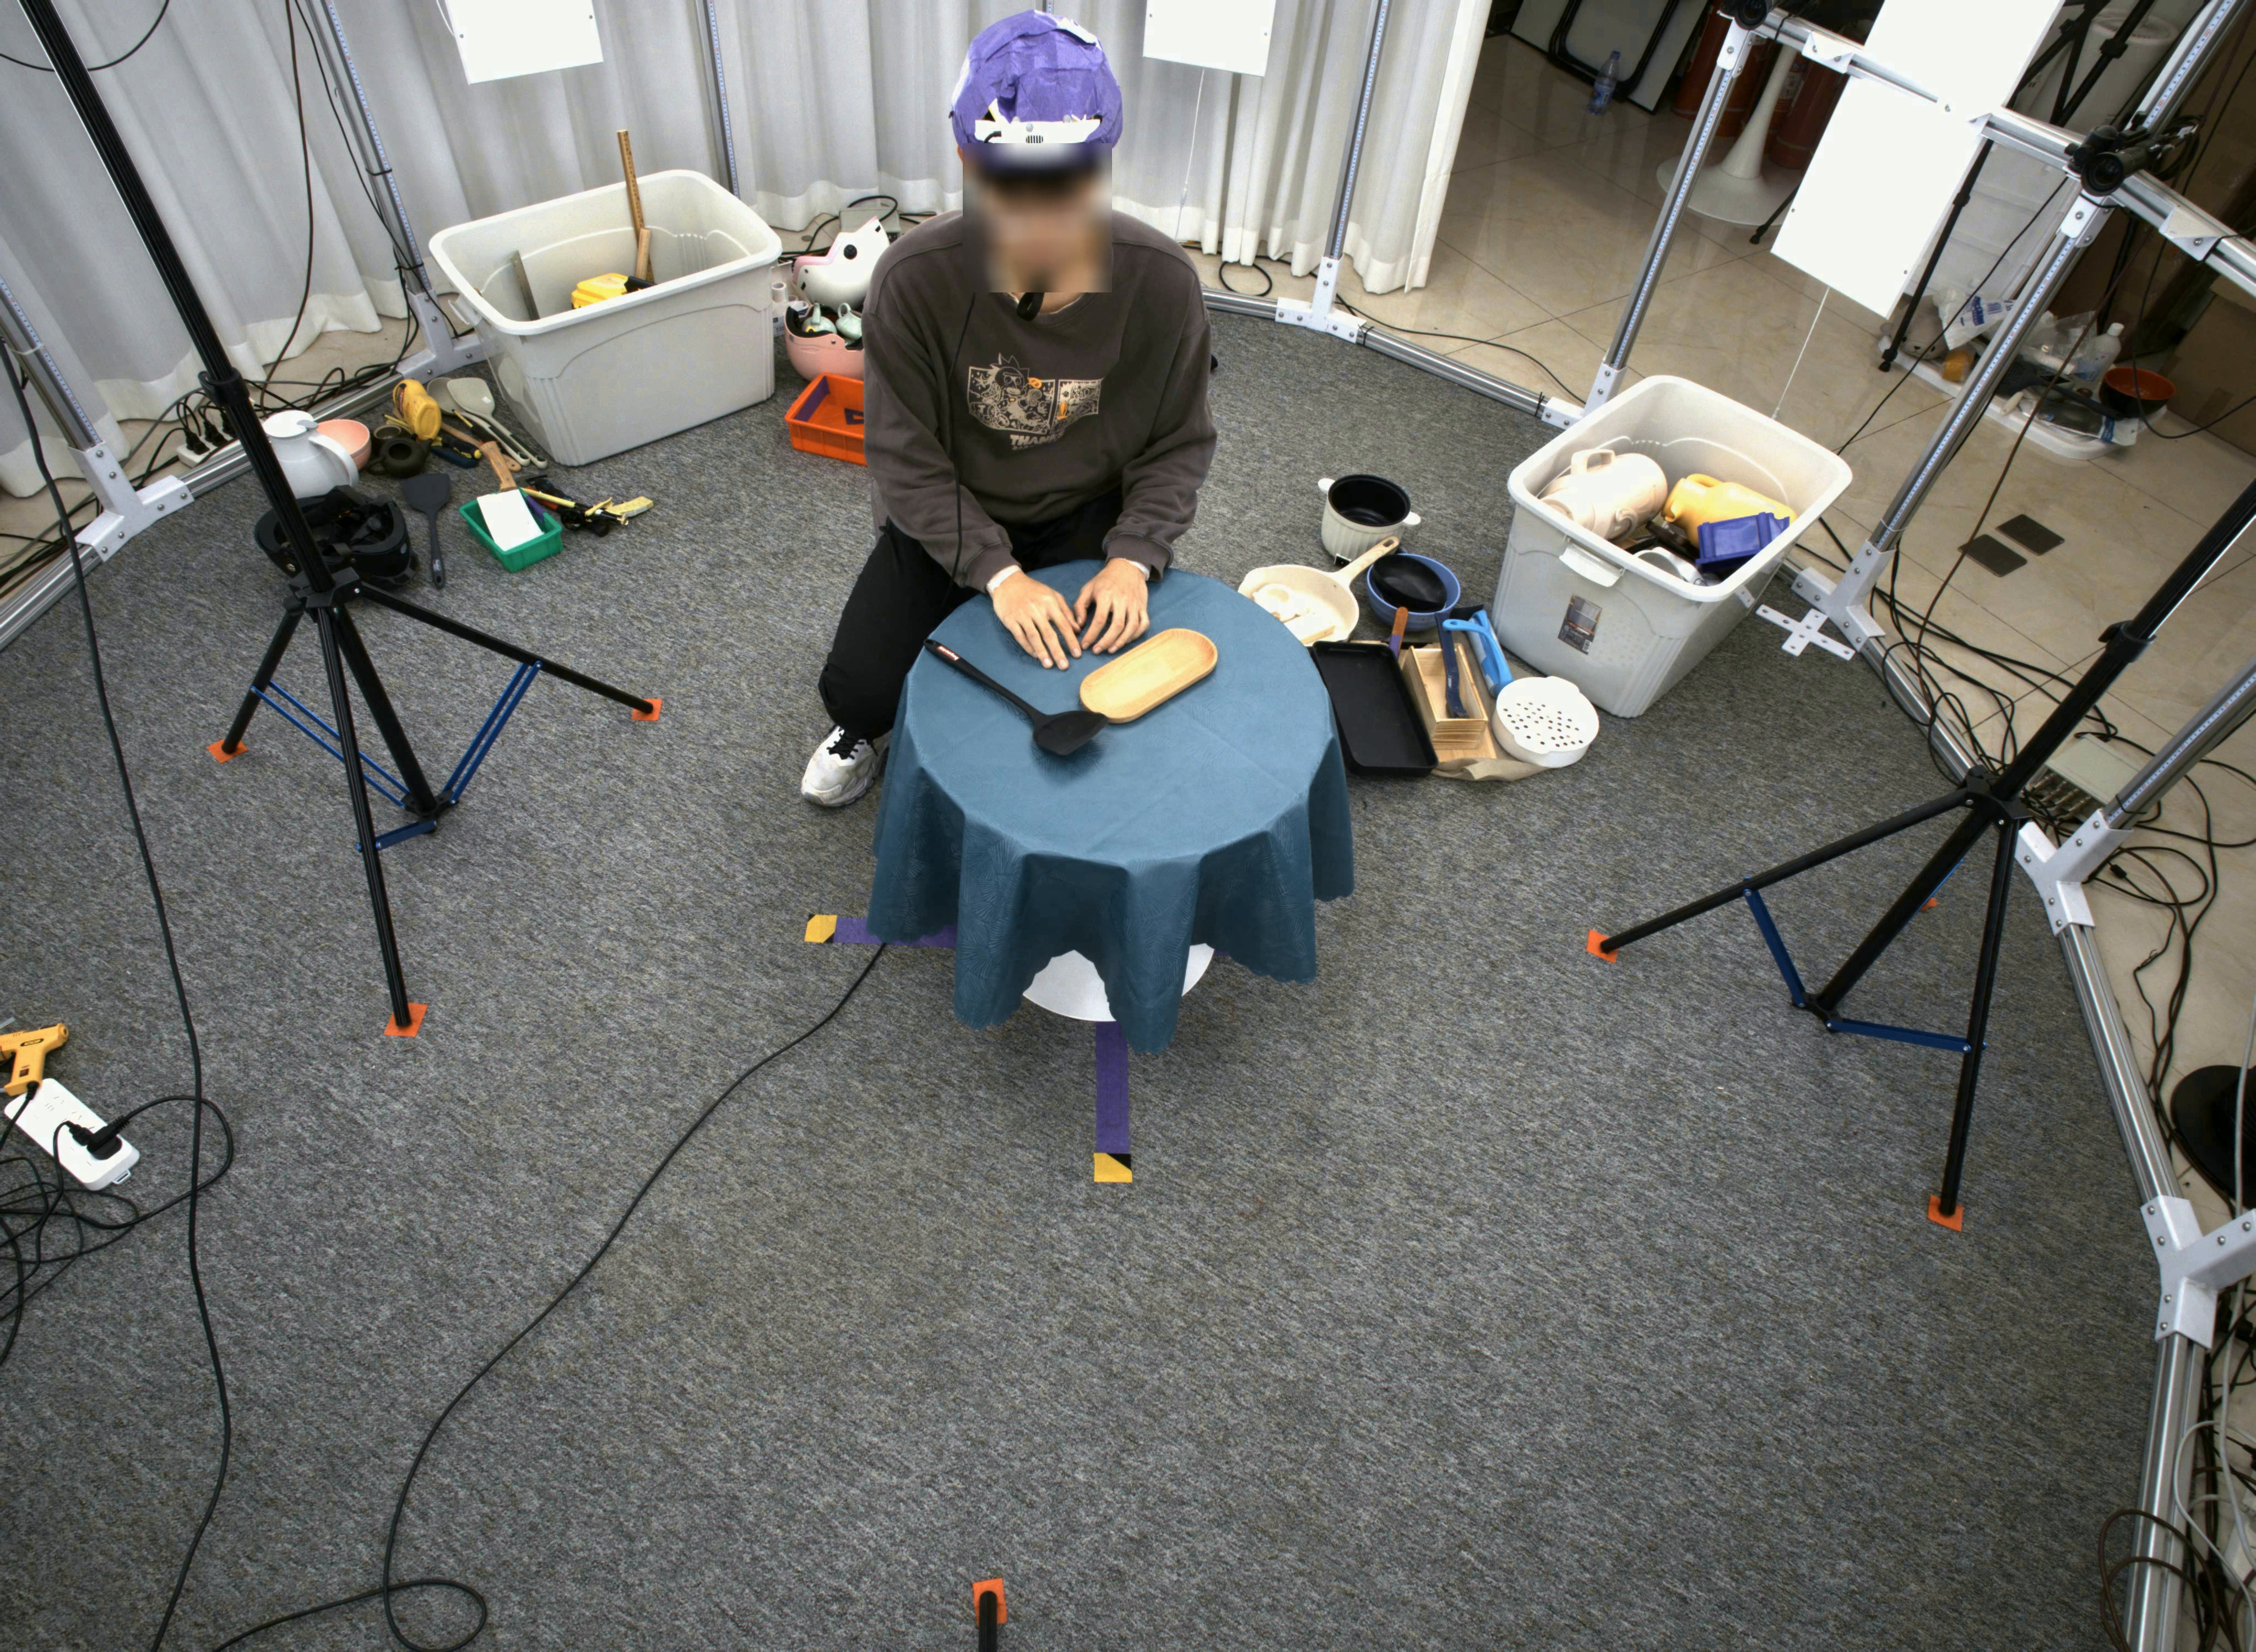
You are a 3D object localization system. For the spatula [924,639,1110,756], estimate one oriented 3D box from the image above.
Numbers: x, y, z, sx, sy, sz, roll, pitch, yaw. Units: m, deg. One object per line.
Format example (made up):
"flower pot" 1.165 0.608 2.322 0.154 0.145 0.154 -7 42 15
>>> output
"spatula" -0.172 -0.191 1.798 0.330 0.039 0.101 36 55 25

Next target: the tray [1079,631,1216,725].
"tray" 0.030 -0.215 1.844 0.233 0.020 0.103 -34 58 -27
